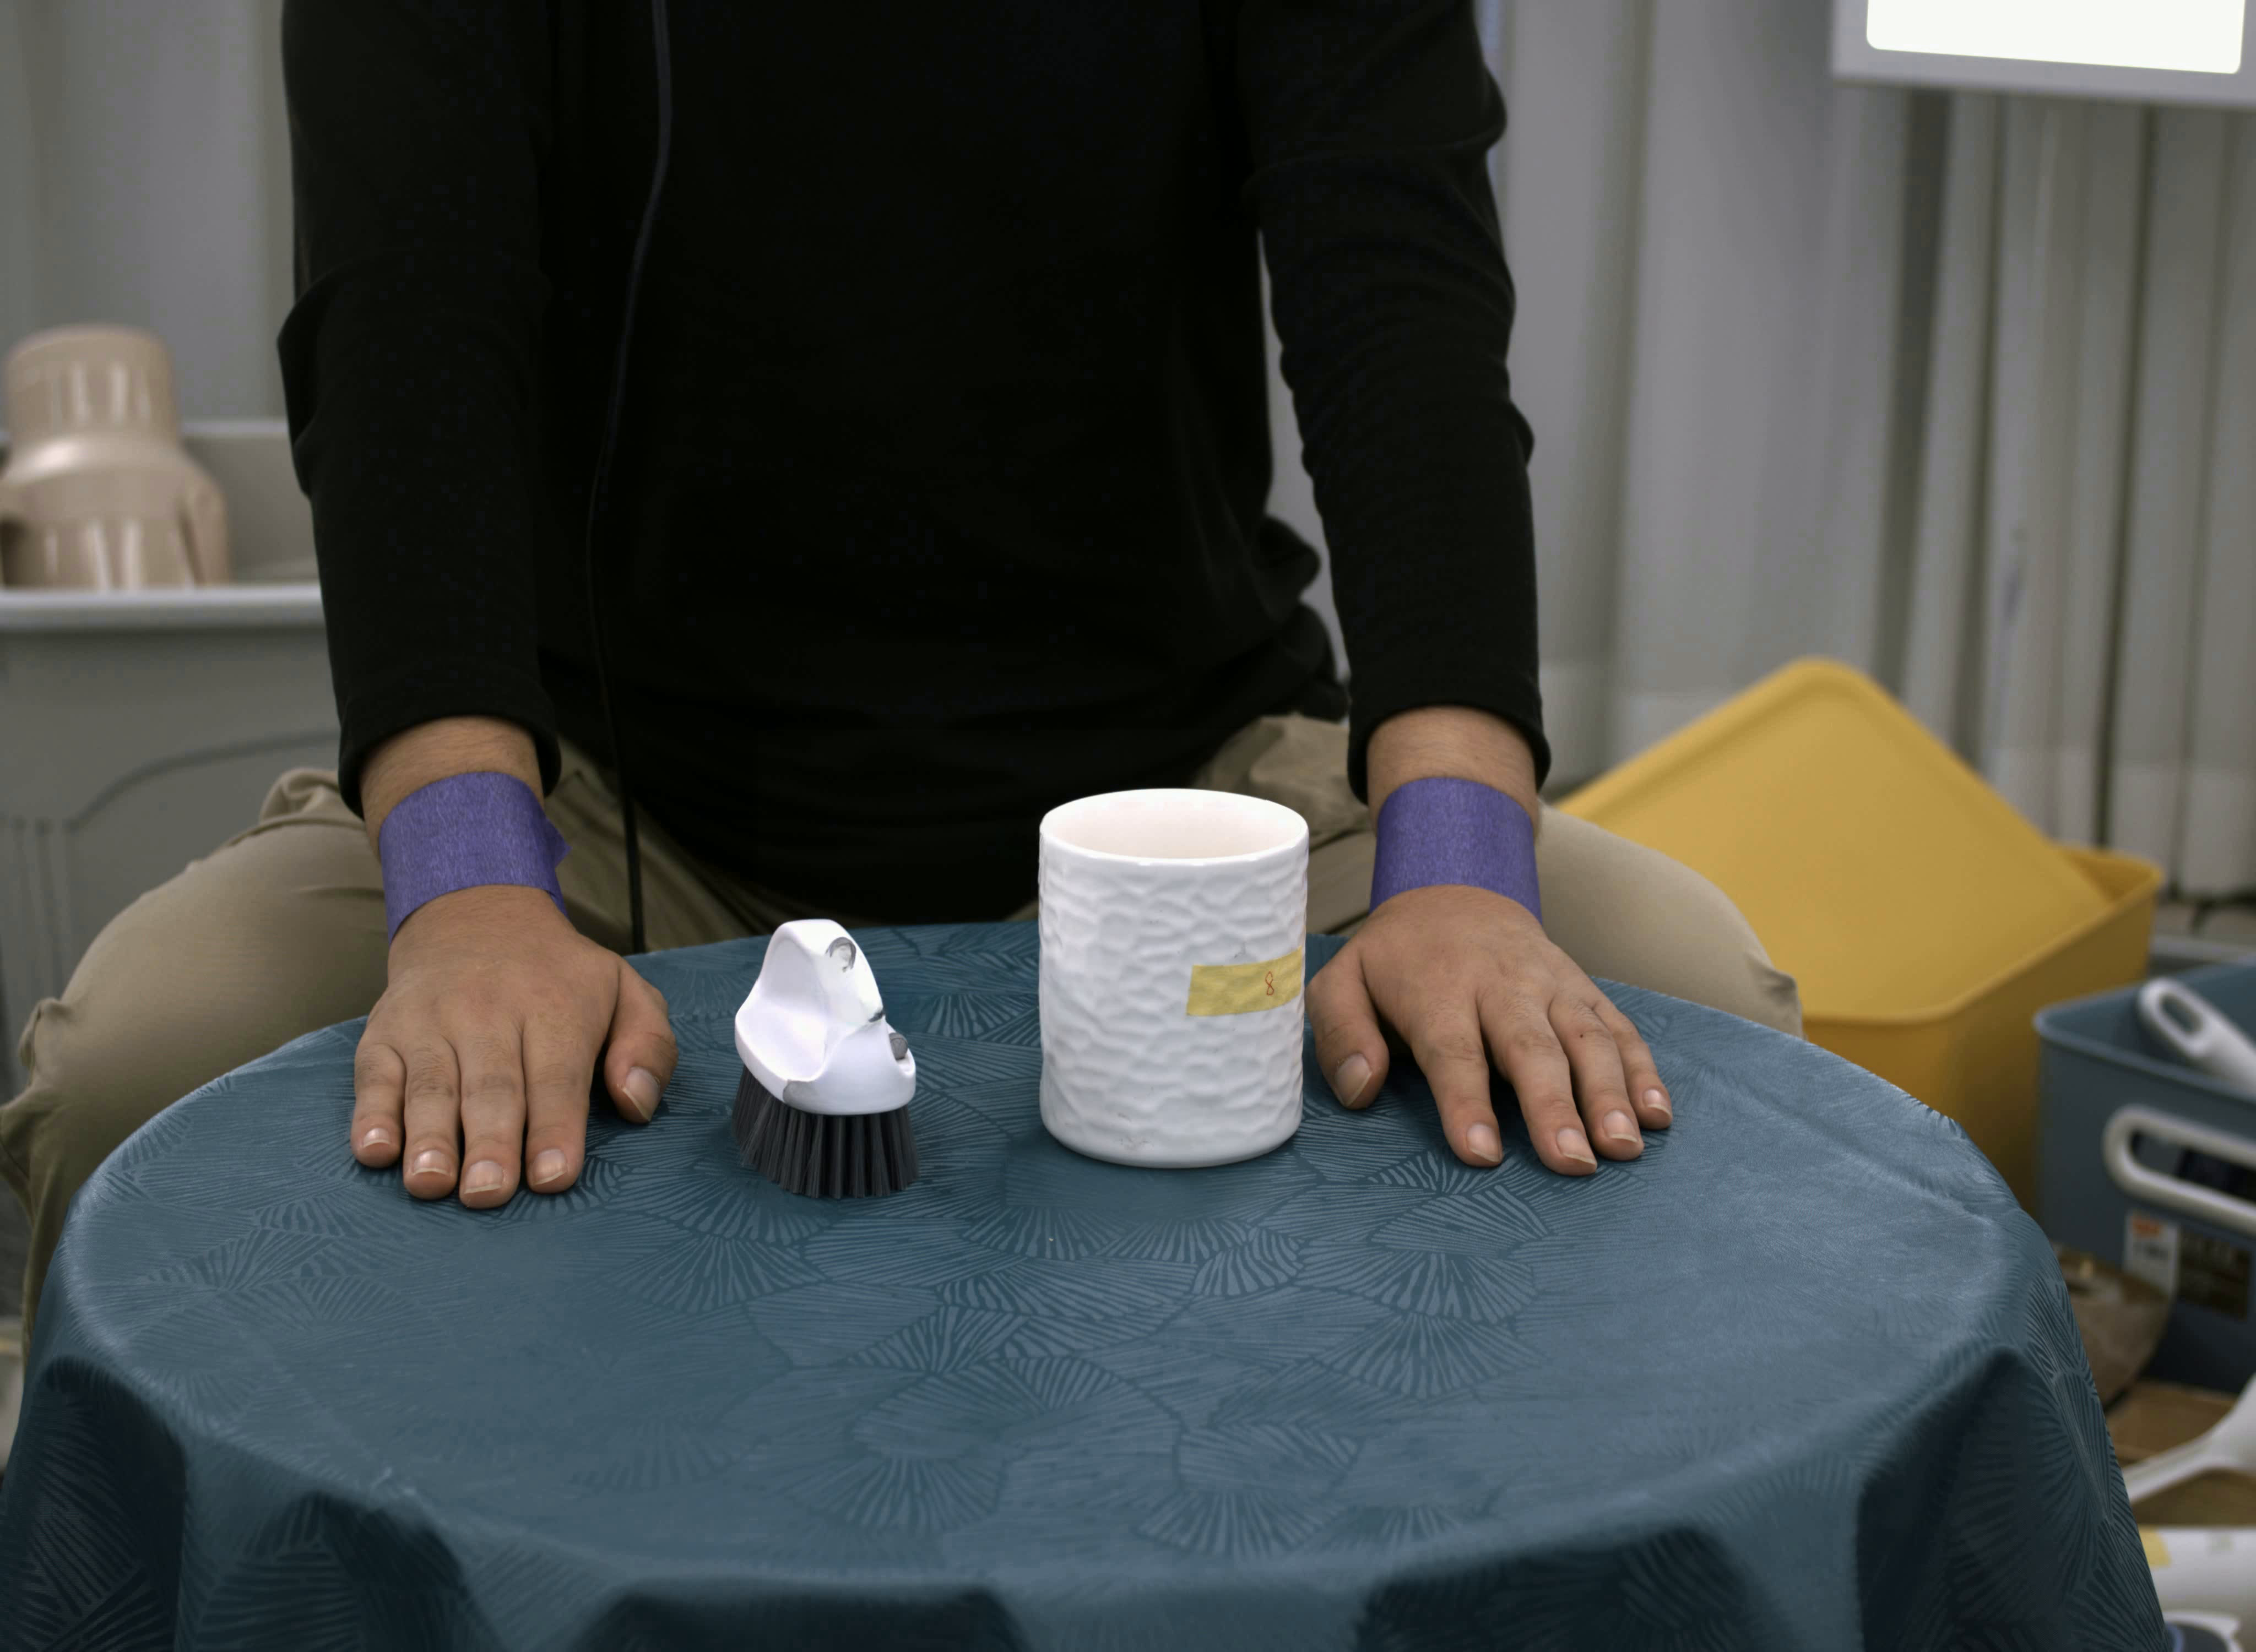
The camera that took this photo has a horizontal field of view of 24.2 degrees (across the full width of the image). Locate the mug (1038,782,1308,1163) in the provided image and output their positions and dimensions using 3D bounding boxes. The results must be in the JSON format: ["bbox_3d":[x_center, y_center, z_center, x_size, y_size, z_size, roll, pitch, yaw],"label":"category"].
[{"bbox_3d":[0.009,0.042,1.678,0.085,0.103,0.117,-5,17,-18],"label":"mug"}]

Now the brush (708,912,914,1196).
[{"bbox_3d":[-0.098,0.066,1.647,0.050,0.073,0.098,-2,19,-24],"label":"brush"}]
